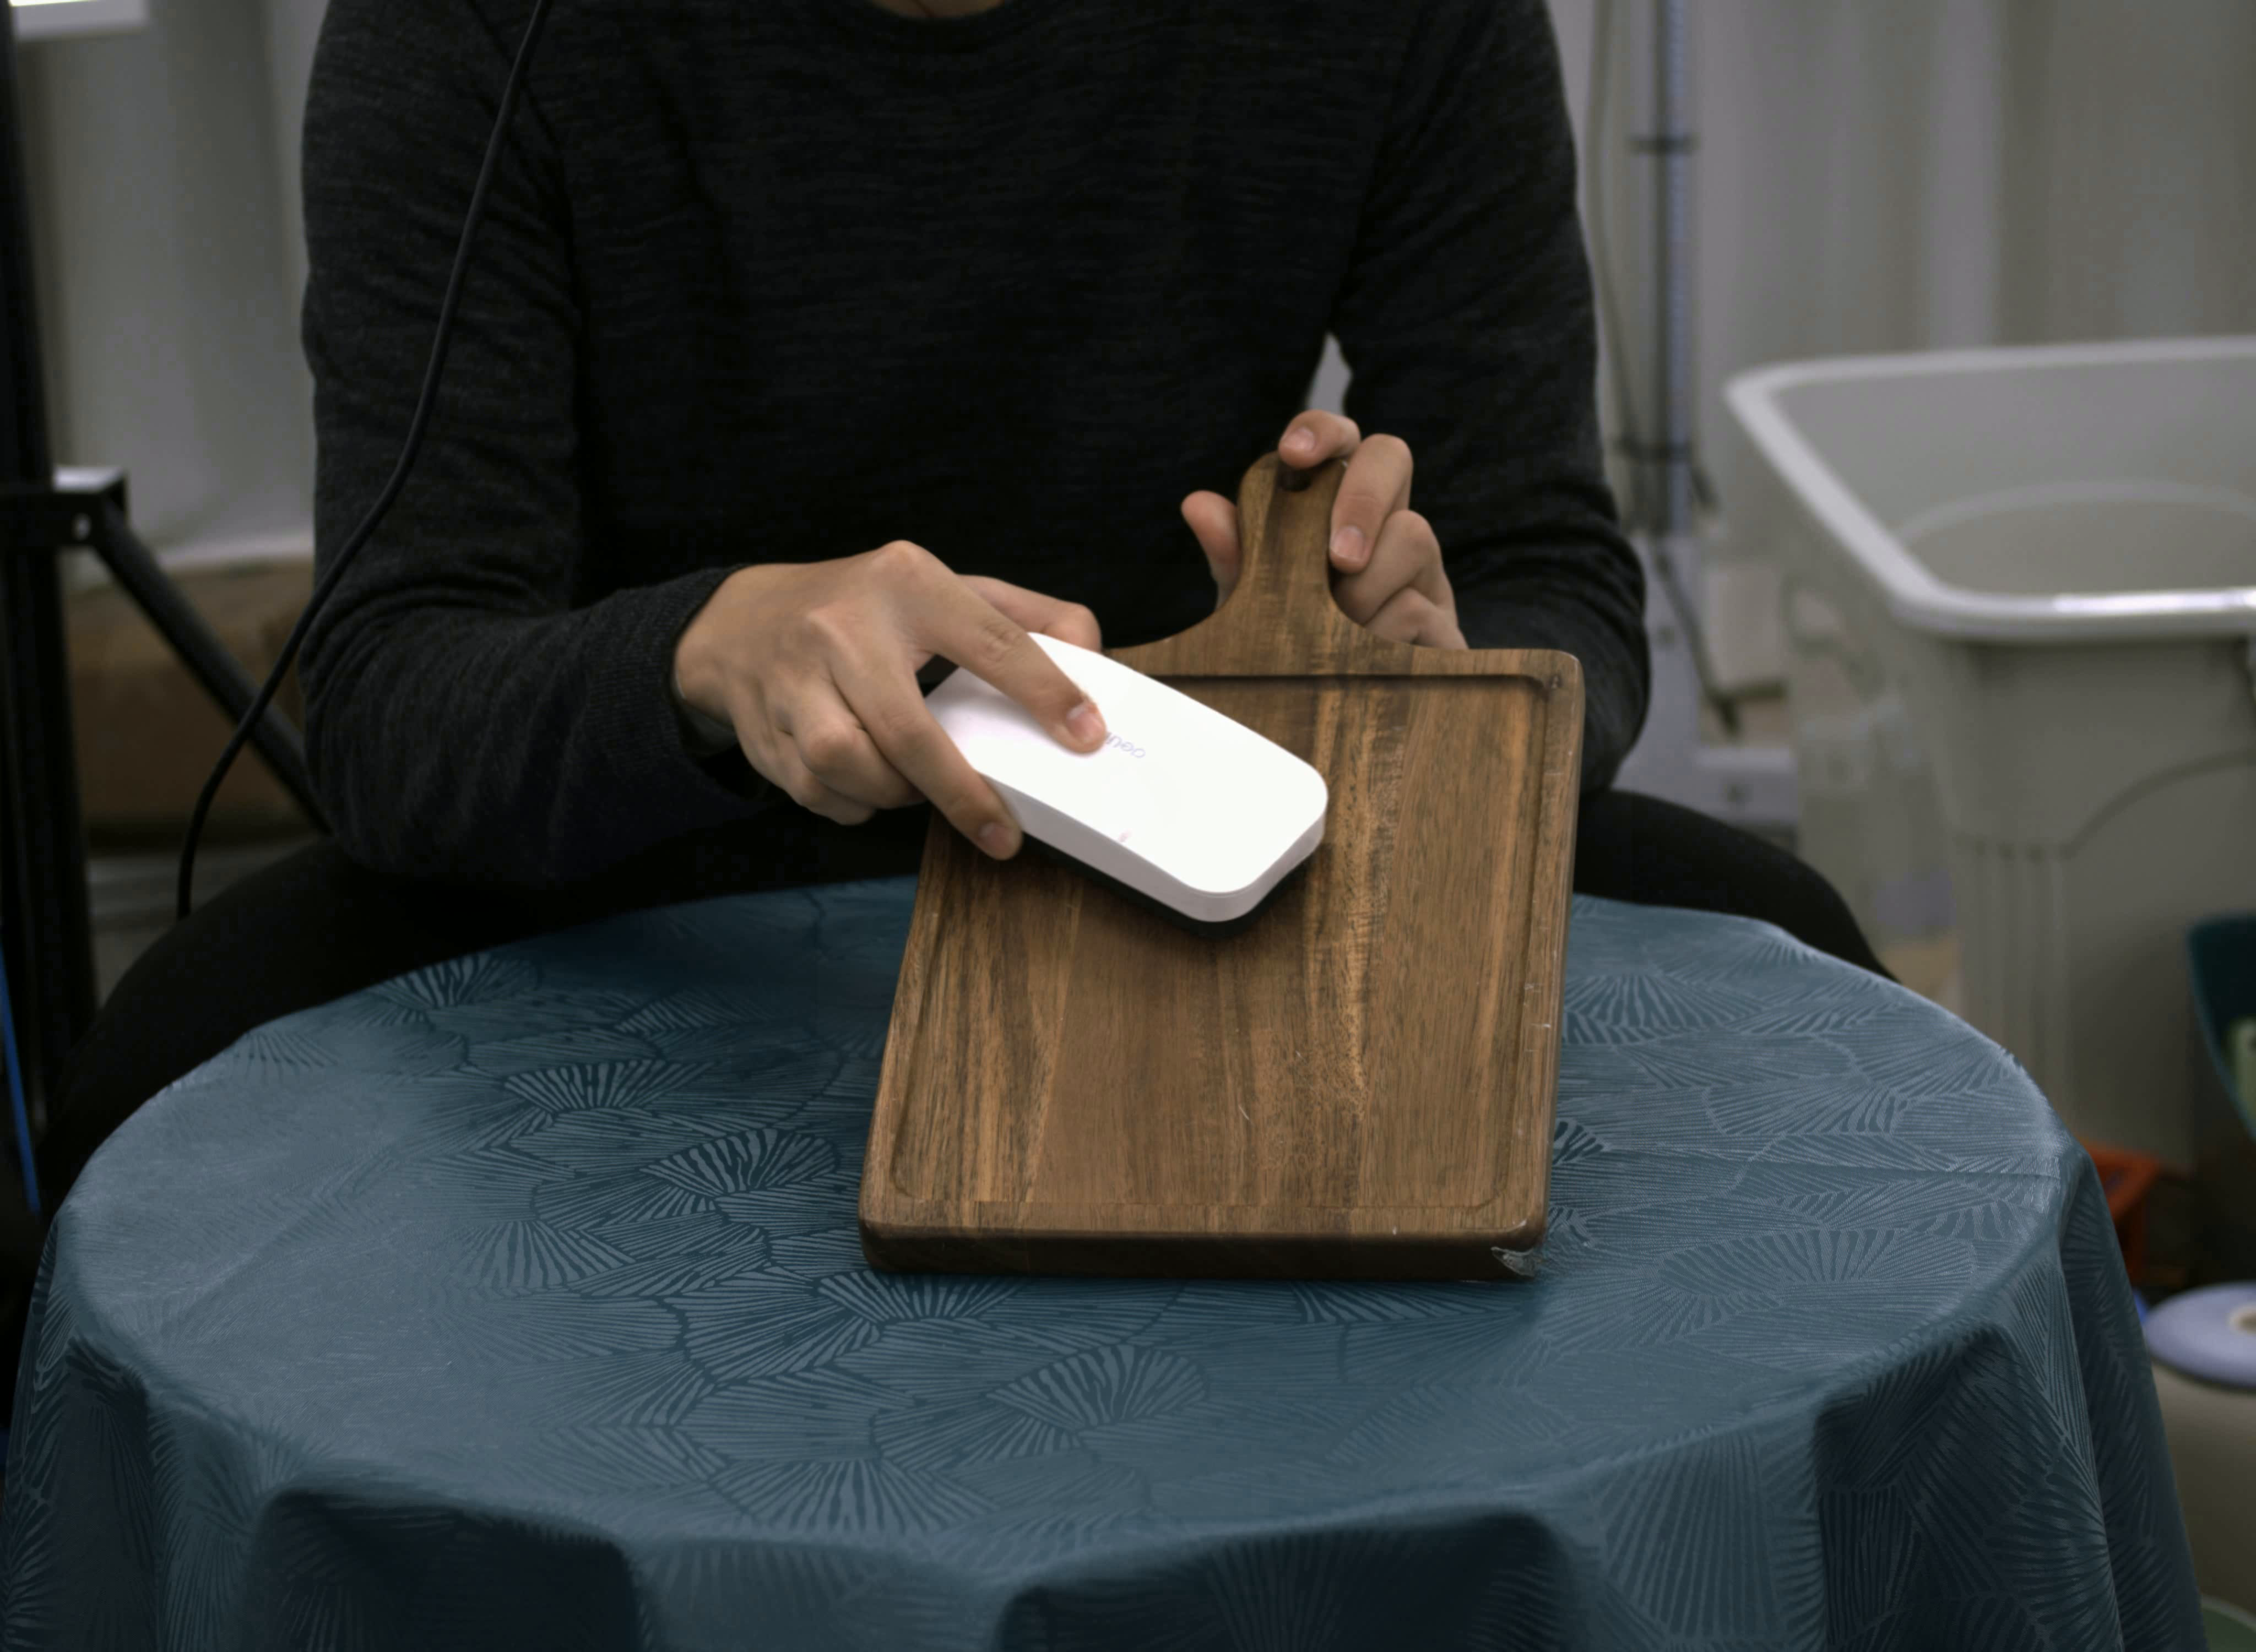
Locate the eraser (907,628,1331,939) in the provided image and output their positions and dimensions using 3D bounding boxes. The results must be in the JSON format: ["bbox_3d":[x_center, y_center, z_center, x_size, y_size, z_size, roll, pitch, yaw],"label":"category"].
[{"bbox_3d":[-0.002,-0.016,1.600,0.134,0.034,0.063,28,55,30],"label":"eraser"}]

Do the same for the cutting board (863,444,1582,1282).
[{"bbox_3d":[0.037,0.003,1.606,0.201,0.023,0.354,-1,42,9],"label":"cutting board"}]
